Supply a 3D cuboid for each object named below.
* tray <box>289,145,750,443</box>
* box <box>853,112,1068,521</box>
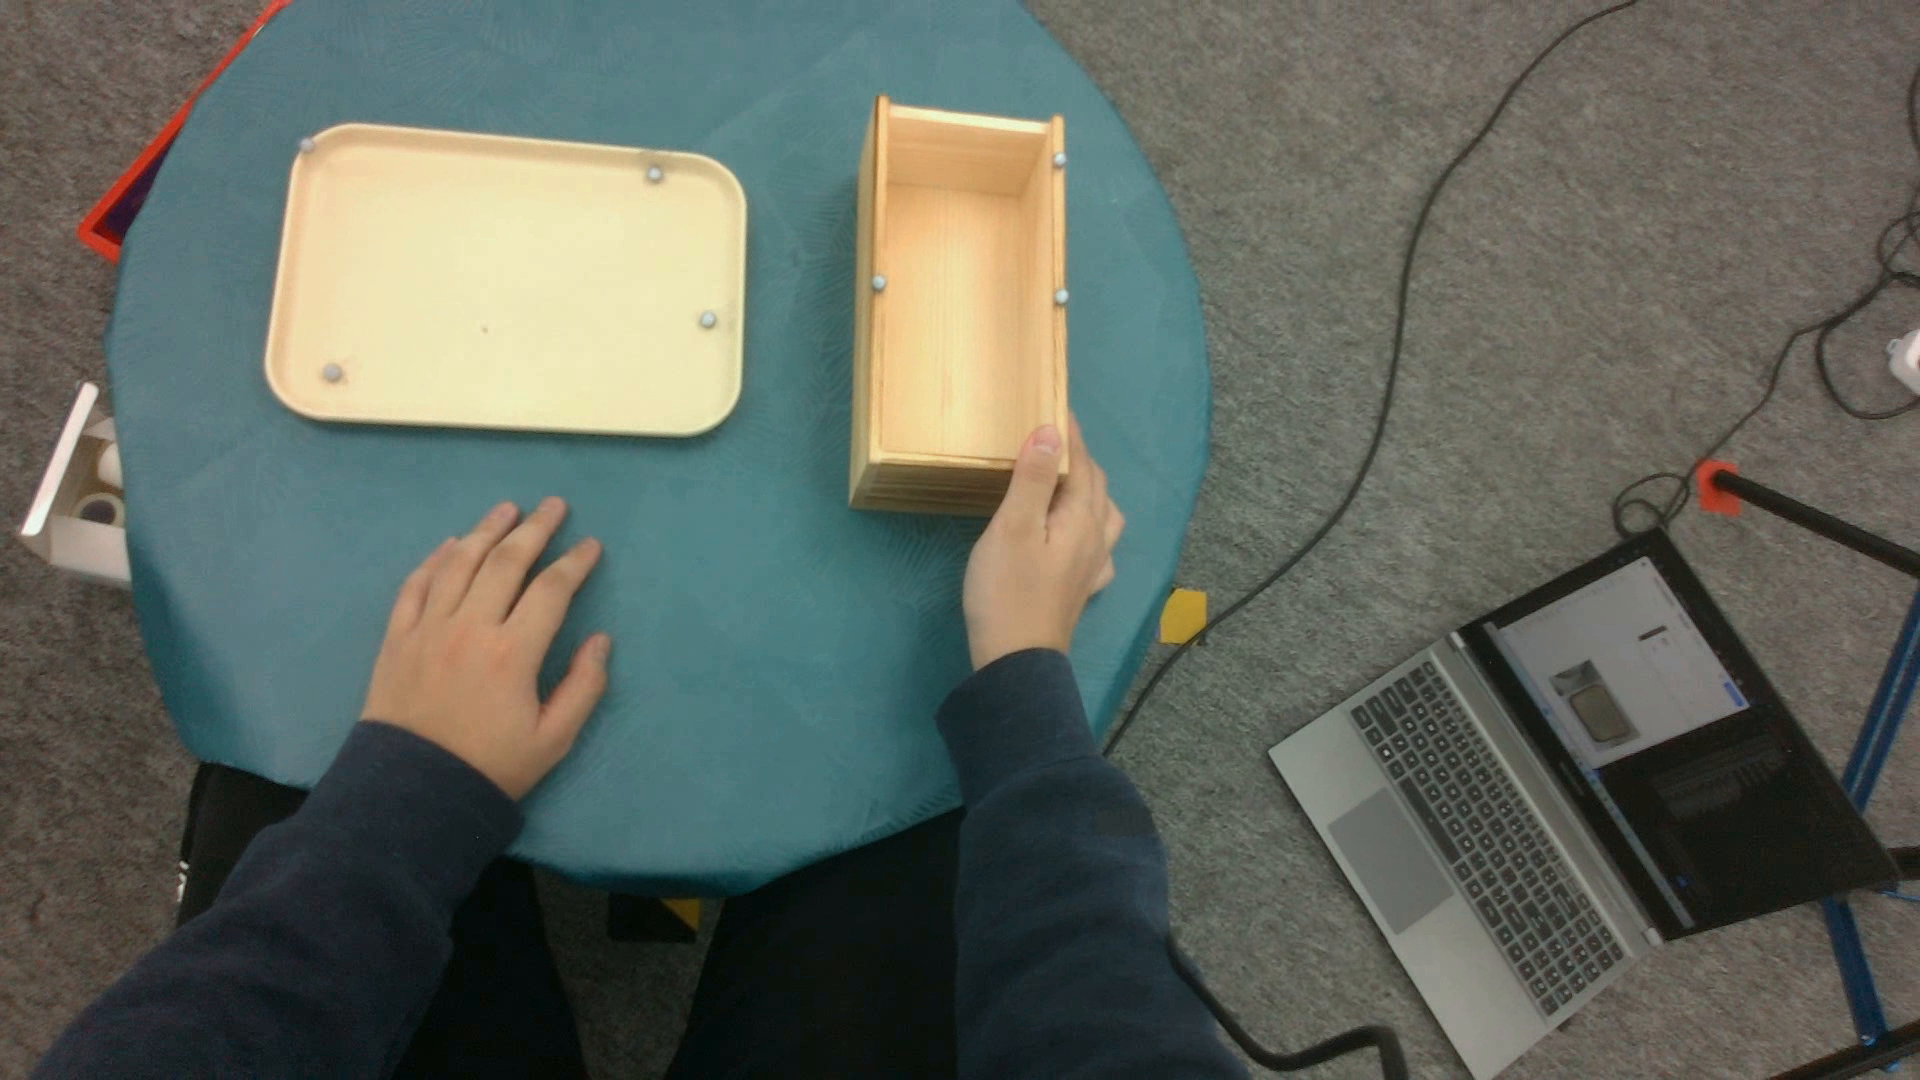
[{"bbox_3d":[-0.238,-0.135,0.767,0.240,0.017,0.171,2,73,-11],"label":"tray"},{"bbox_3d":[-0.002,-0.124,0.778,0.107,0.080,0.212,2,73,-10],"label":"box"}]
